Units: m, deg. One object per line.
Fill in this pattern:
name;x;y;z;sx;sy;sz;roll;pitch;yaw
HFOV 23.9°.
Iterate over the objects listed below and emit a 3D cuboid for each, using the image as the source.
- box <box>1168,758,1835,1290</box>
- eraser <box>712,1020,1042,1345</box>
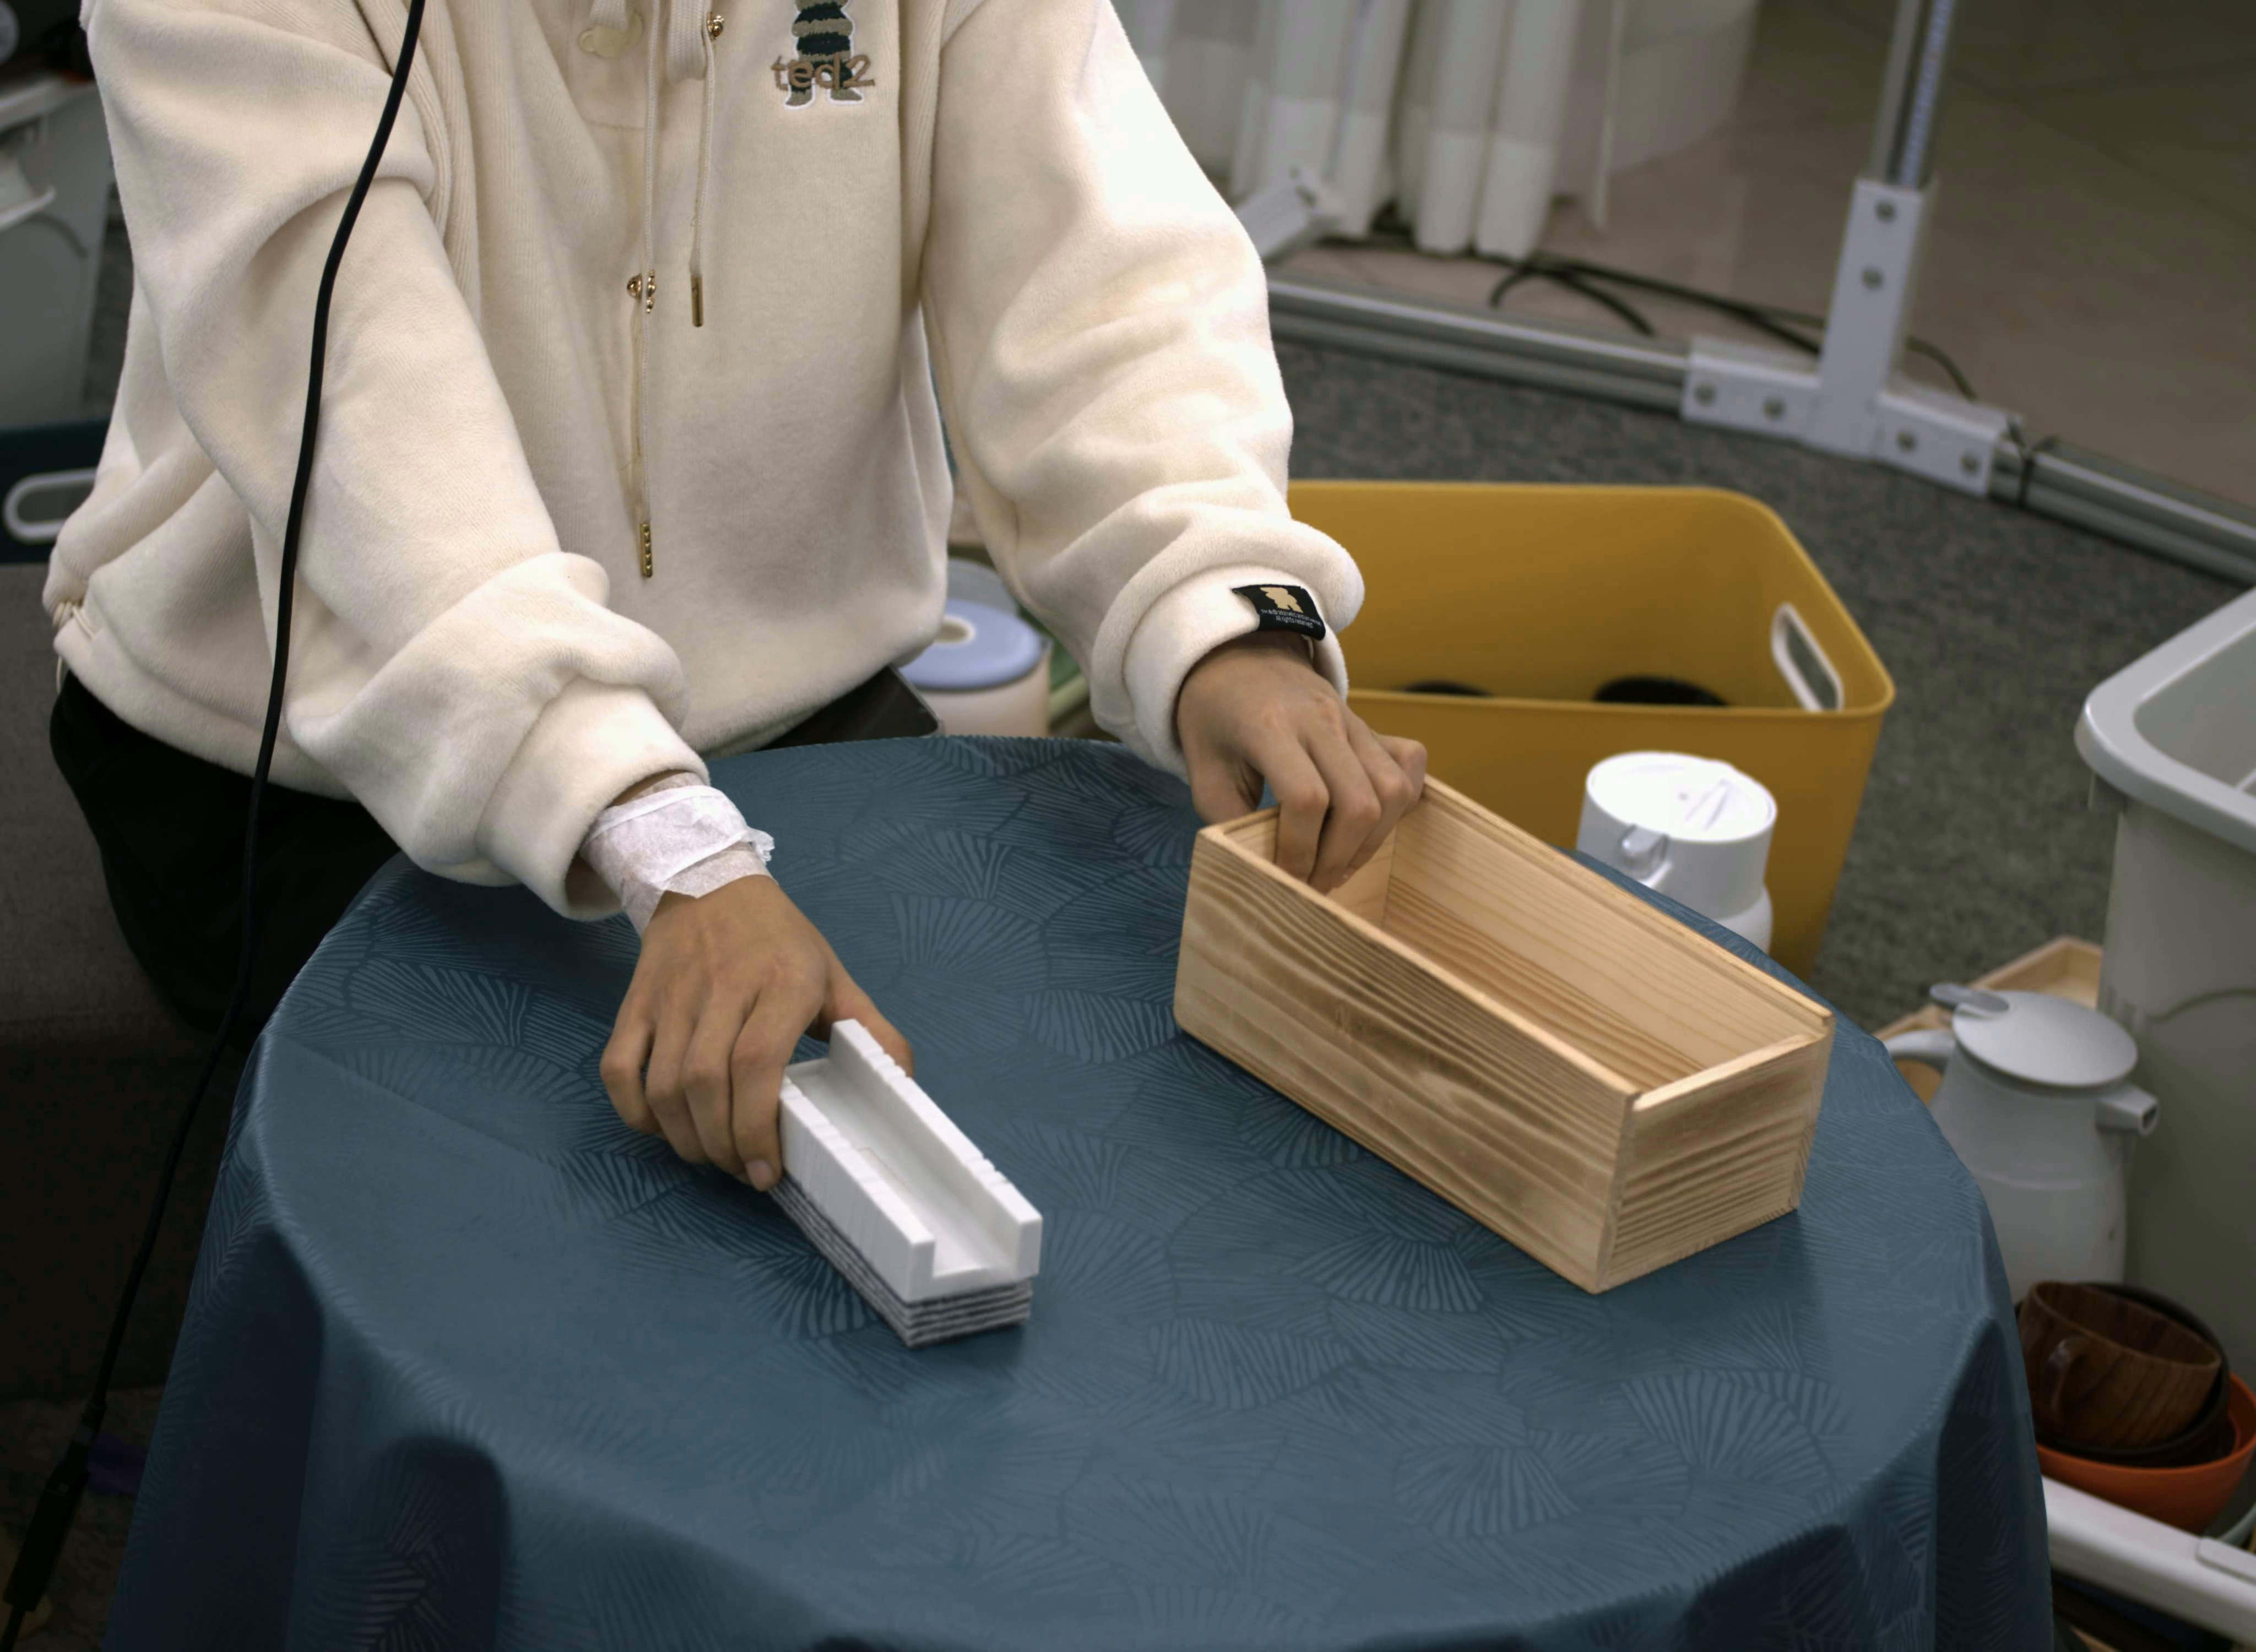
box;0.127;0.065;1.852;0.107;0.080;0.213;-17;37;-41
eraser;-0.084;0.116;1.746;0.049;0.046;0.135;-12;33;-29
